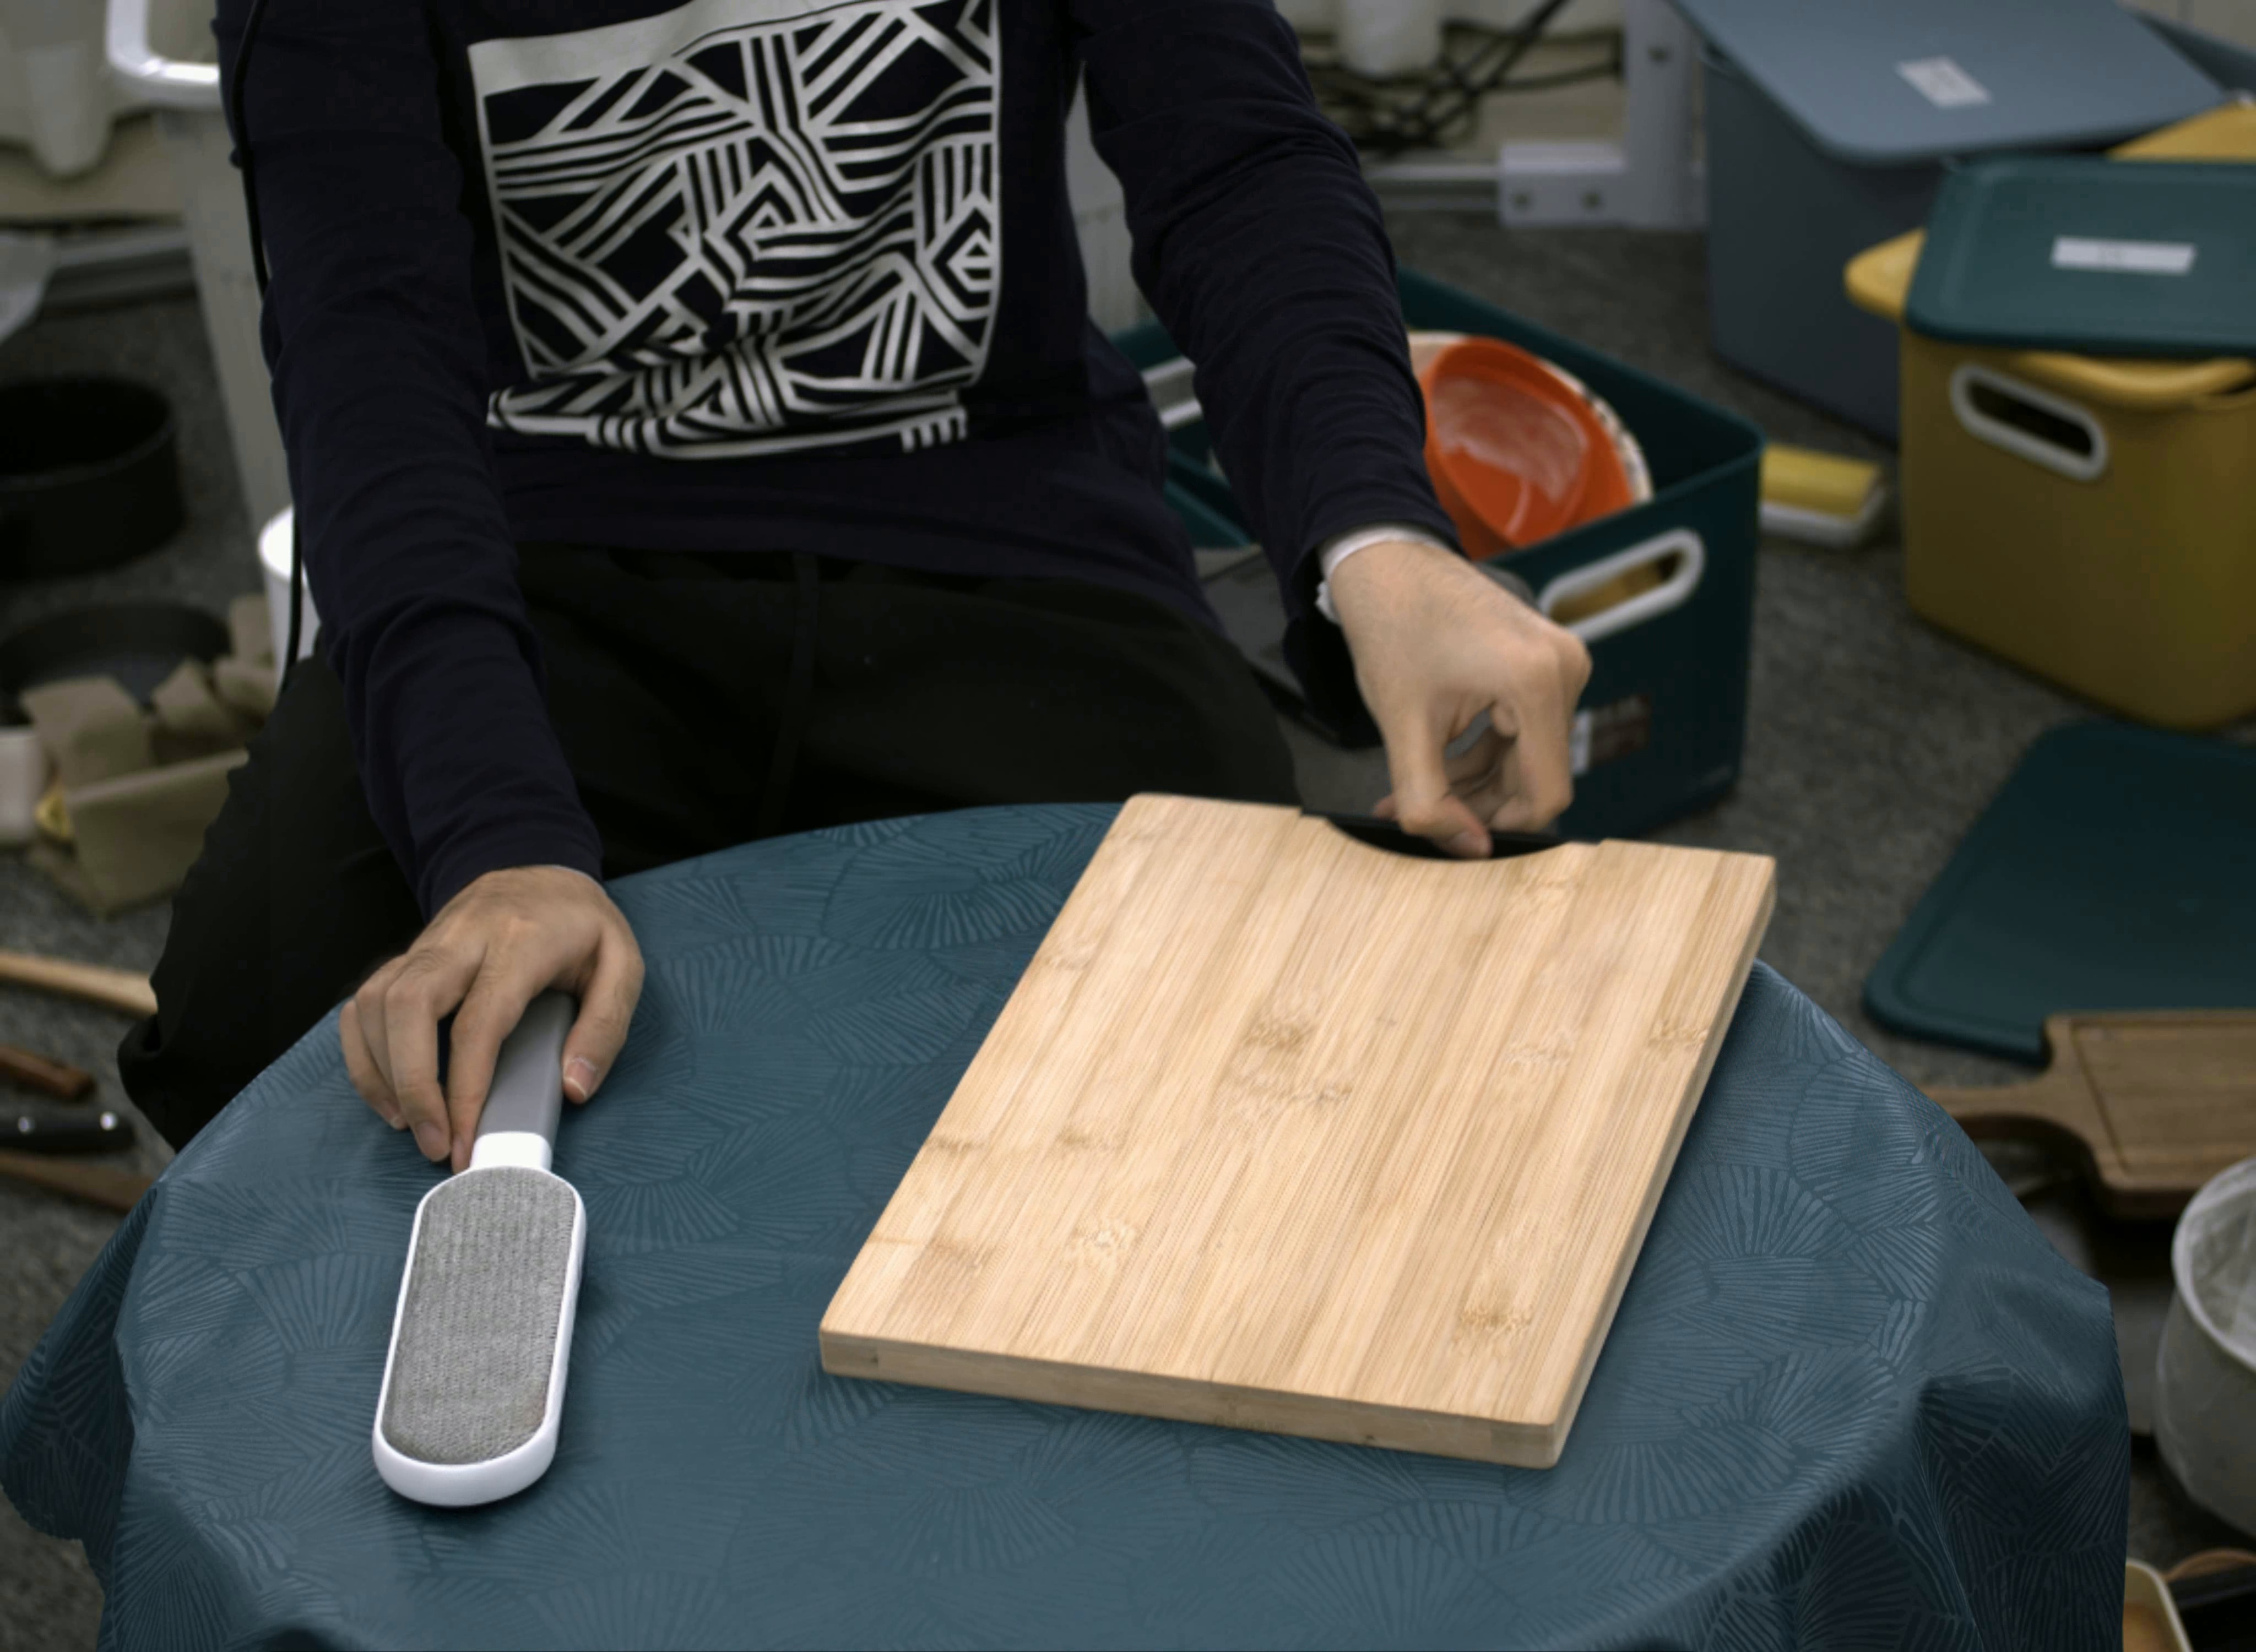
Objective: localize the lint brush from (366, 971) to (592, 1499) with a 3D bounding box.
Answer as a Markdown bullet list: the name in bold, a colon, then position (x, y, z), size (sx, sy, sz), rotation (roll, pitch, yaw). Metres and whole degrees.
- **lint brush**: position (-0.205, 0.128, 1.837), size (0.060, 0.021, 0.313), rotation (-5, 27, 3)

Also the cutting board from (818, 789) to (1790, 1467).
- **cutting board**: position (0.067, 0.092, 1.879), size (0.249, 0.023, 0.355), rotation (6, 31, 15)
